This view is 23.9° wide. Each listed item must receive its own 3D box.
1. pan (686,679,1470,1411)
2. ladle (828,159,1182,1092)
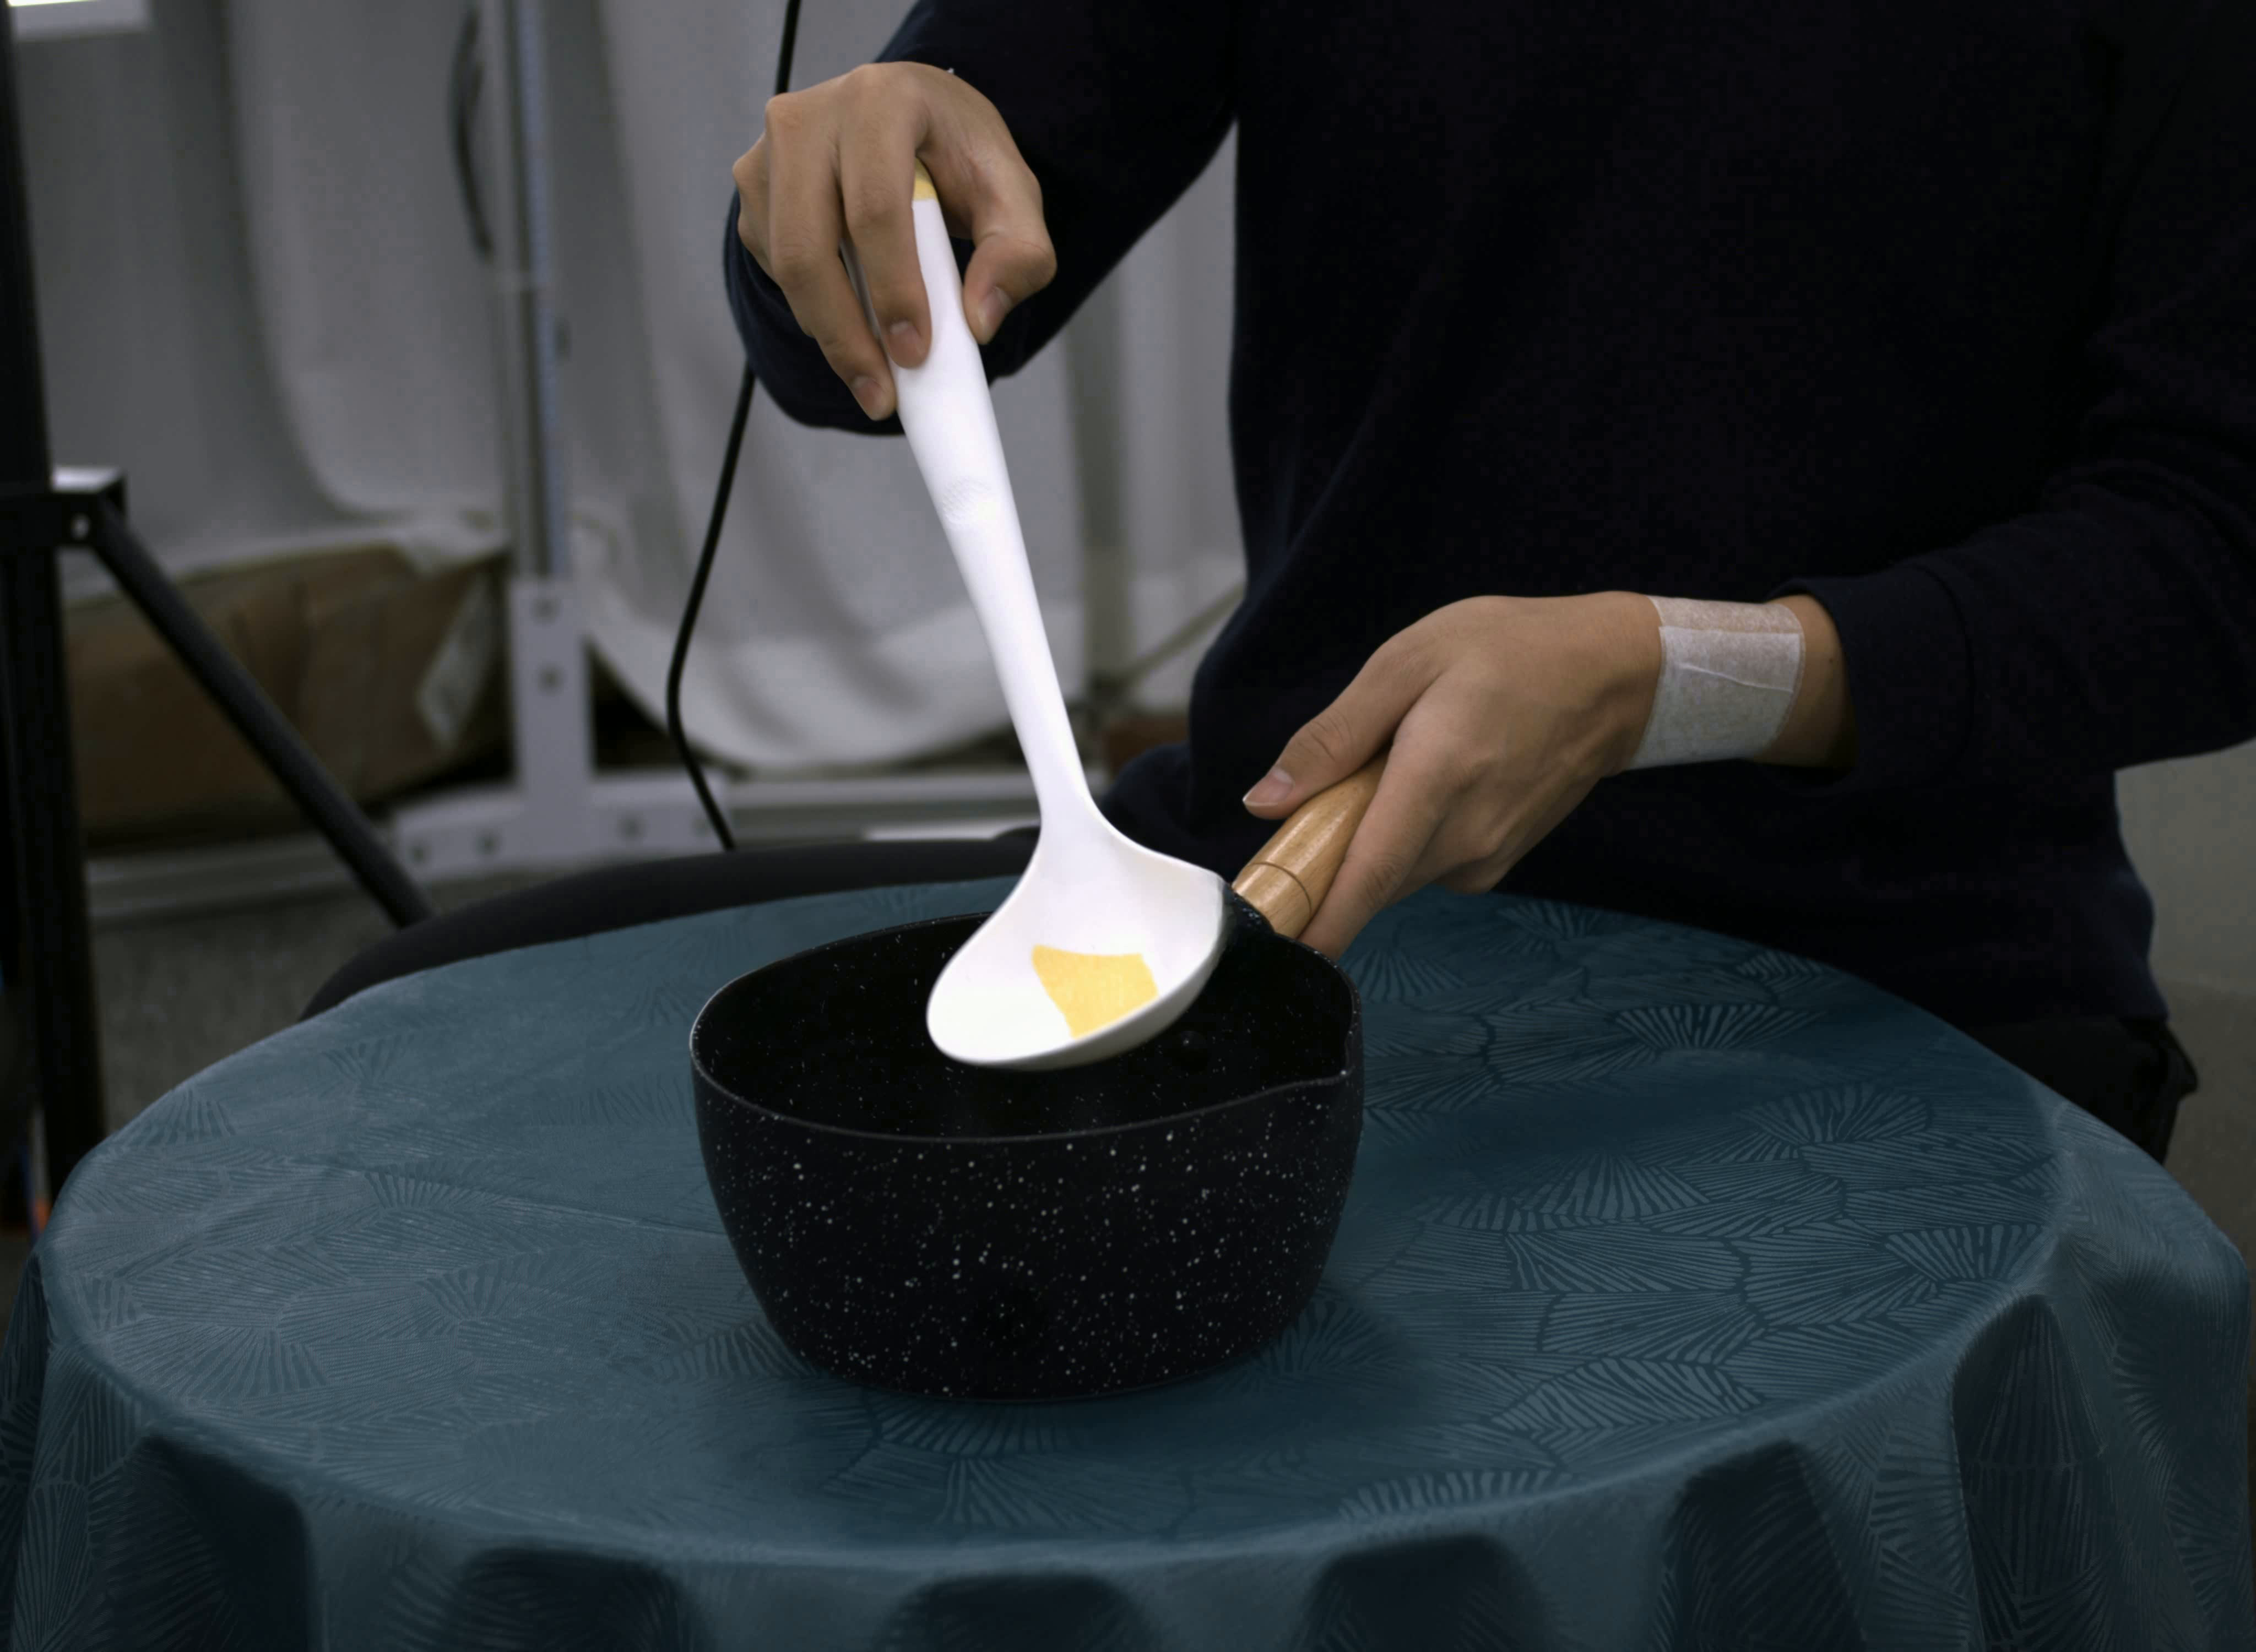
[{"bbox_3d":[0.012,0.057,1.518,0.211,0.108,0.337,6,21,30],"label":"pan"},{"bbox_3d":[-0.047,-0.060,1.502,0.091,0.297,0.068,-25,-24,24],"label":"ladle"}]
